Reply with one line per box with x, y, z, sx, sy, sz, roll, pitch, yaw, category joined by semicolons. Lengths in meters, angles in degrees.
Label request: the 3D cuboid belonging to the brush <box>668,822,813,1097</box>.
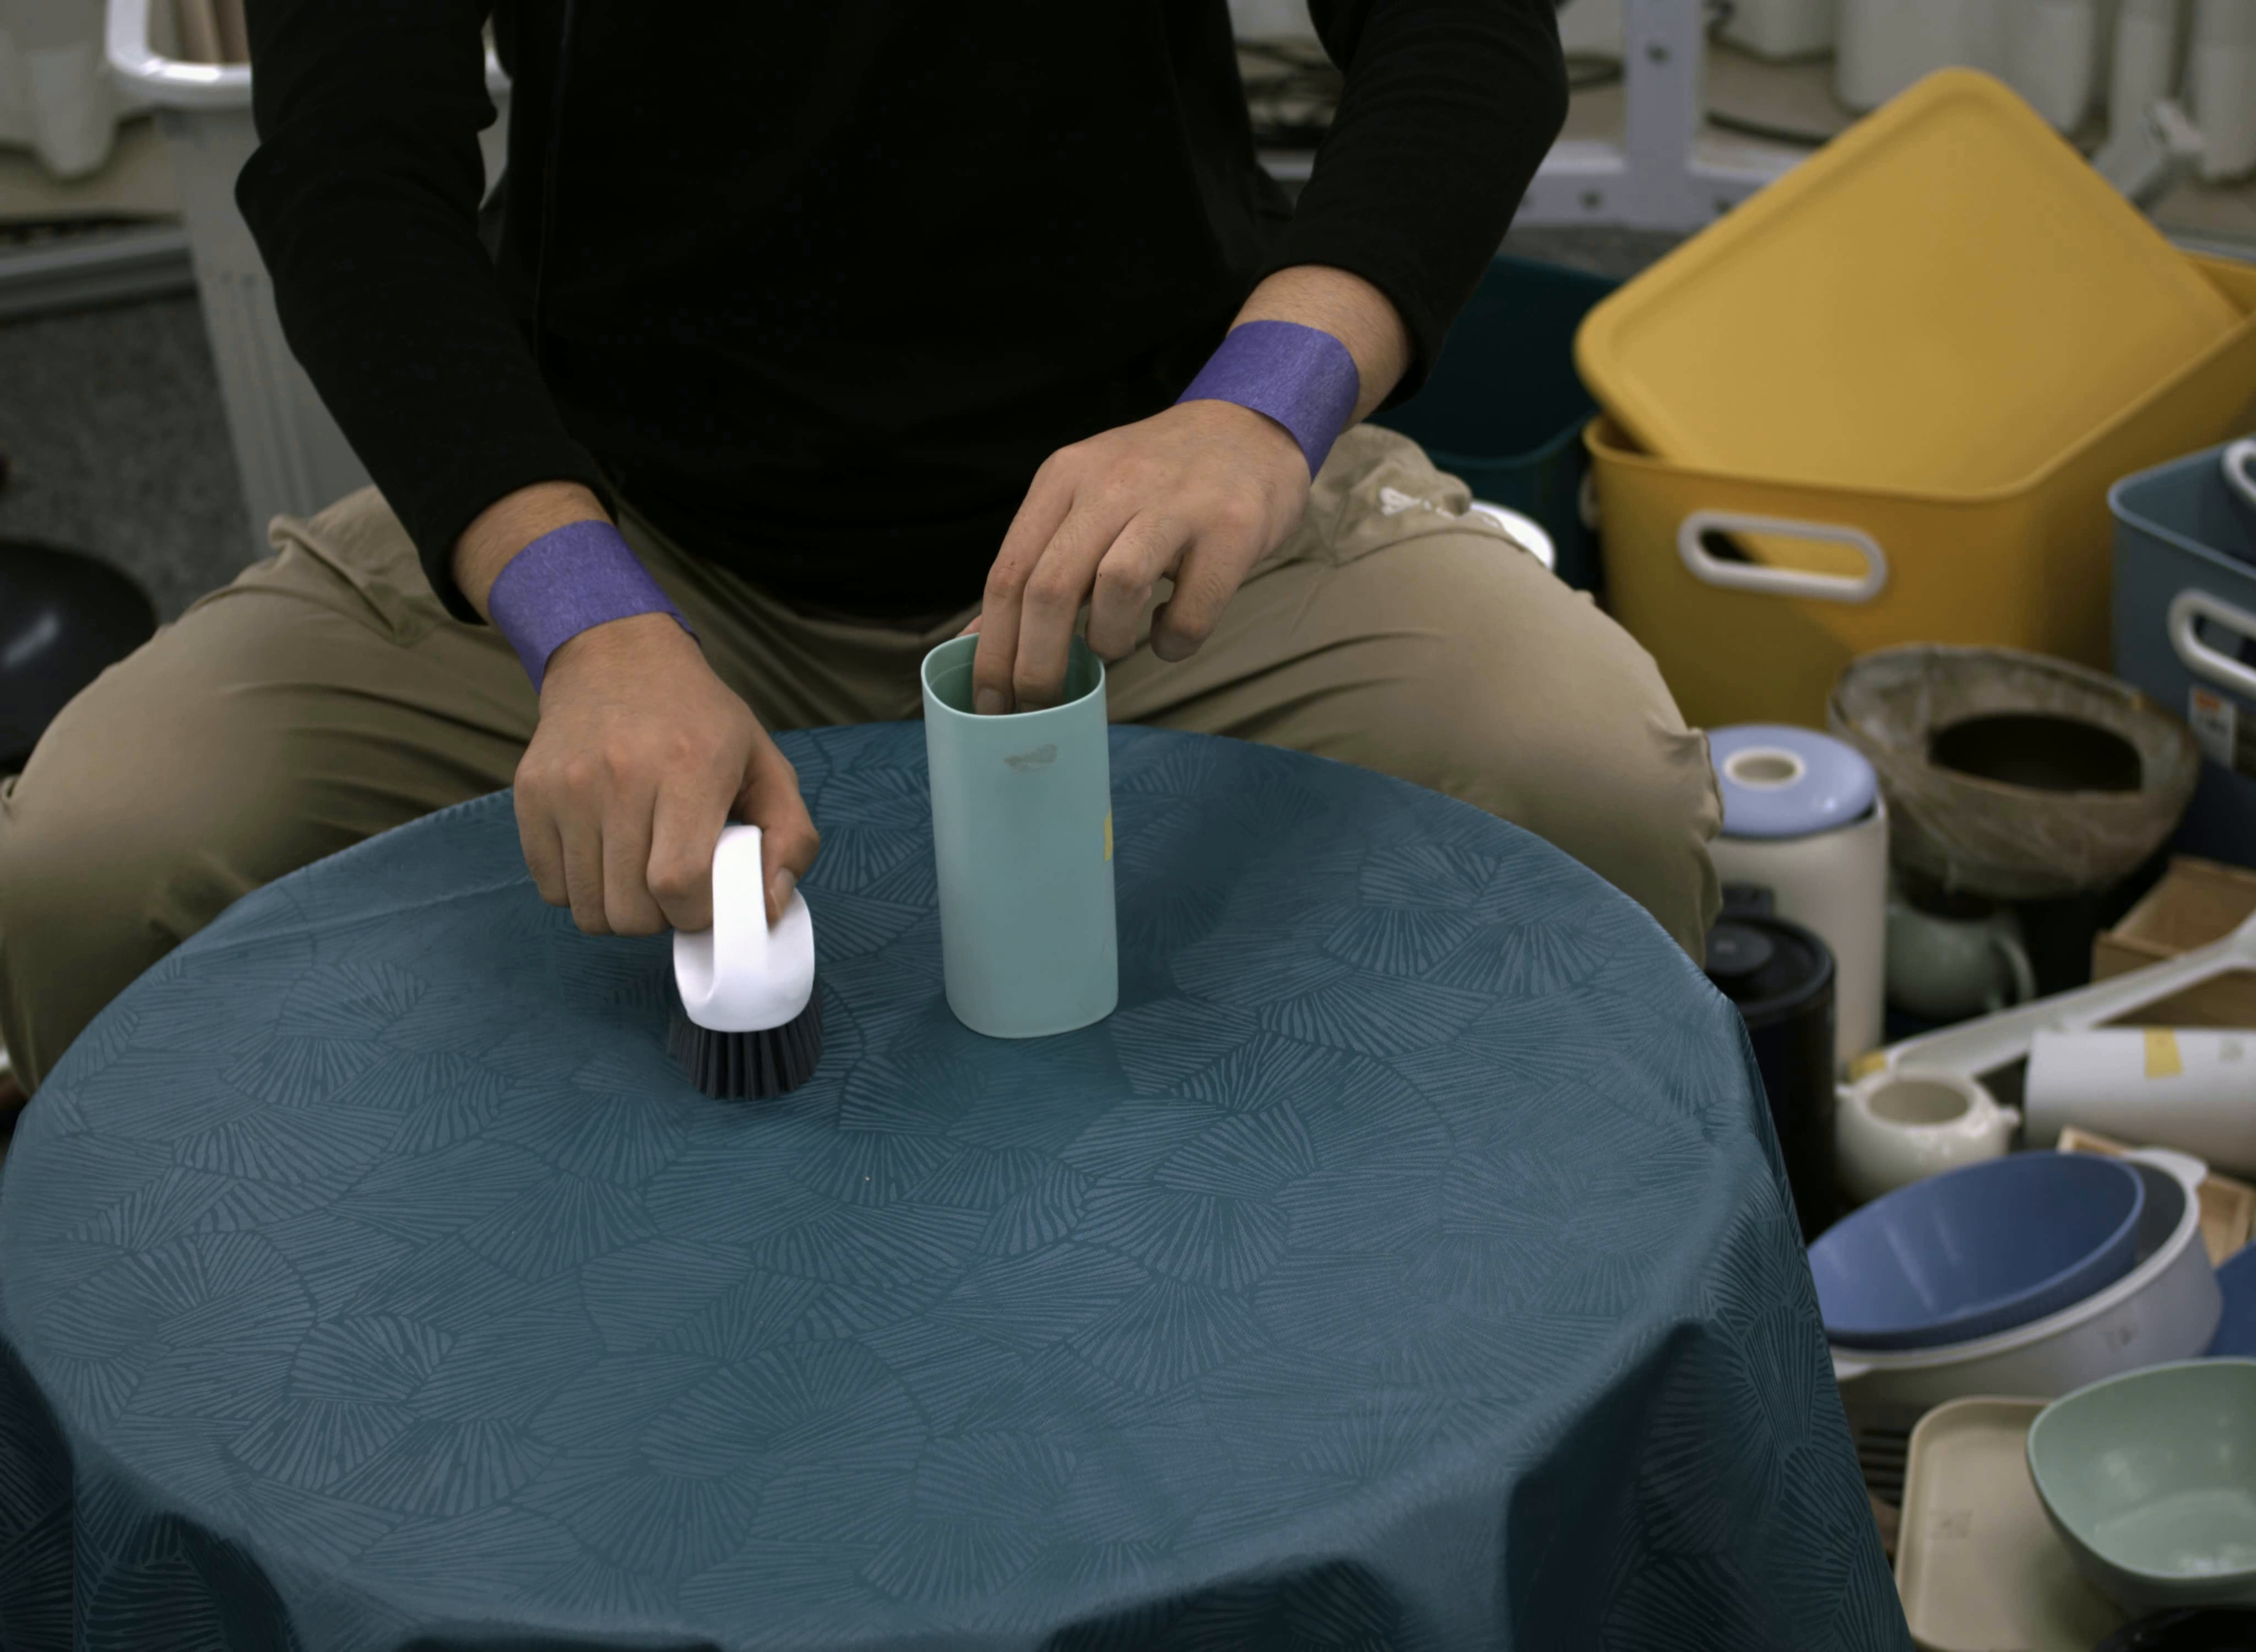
-0.136;0.040;1.953;0.050;0.072;0.100;-2;28;-2;brush

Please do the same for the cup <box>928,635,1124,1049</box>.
-0.036;0.006;1.954;0.066;0.131;0.068;-2;29;2;cup
